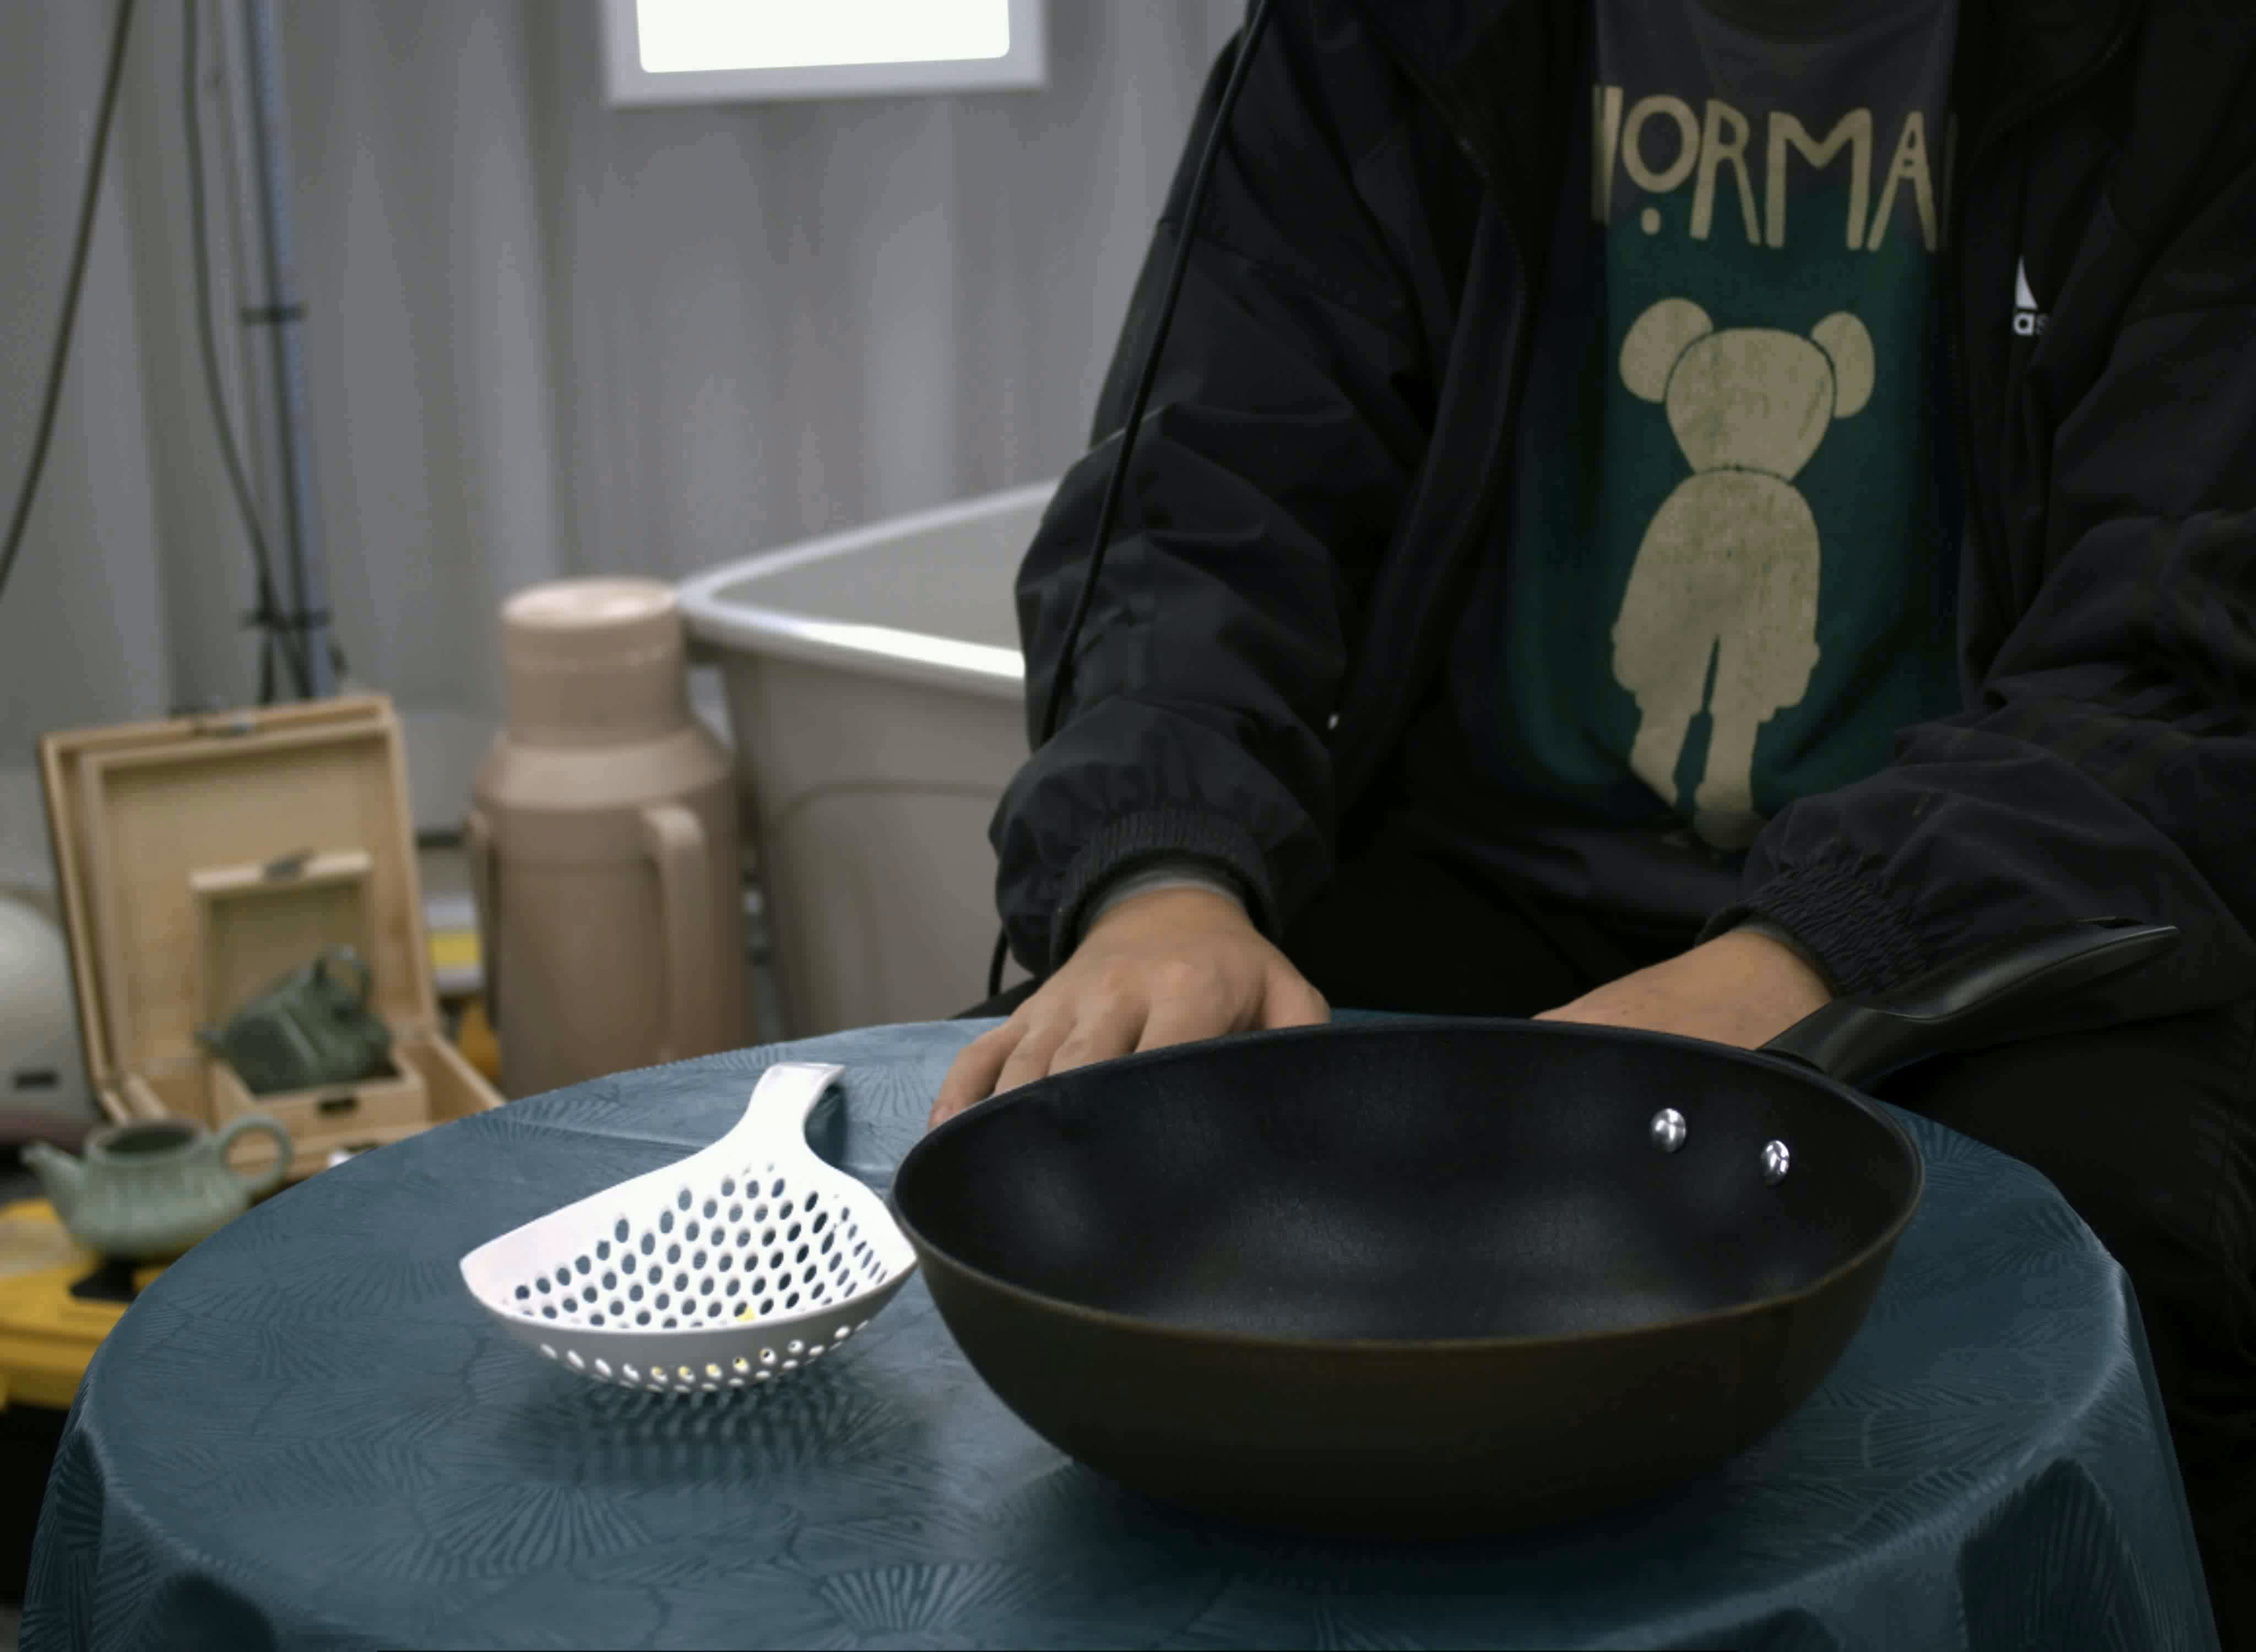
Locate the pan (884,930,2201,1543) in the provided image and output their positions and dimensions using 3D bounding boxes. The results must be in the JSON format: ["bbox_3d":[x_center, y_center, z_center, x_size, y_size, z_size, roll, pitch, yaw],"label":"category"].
[{"bbox_3d":[0.143,0.110,1.543,0.462,0.086,0.290,-14,19,-39],"label":"pan"}]

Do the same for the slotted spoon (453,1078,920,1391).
[{"bbox_3d":[-0.114,0.111,1.672,0.136,0.050,0.350,-3,15,5],"label":"slotted spoon"}]
